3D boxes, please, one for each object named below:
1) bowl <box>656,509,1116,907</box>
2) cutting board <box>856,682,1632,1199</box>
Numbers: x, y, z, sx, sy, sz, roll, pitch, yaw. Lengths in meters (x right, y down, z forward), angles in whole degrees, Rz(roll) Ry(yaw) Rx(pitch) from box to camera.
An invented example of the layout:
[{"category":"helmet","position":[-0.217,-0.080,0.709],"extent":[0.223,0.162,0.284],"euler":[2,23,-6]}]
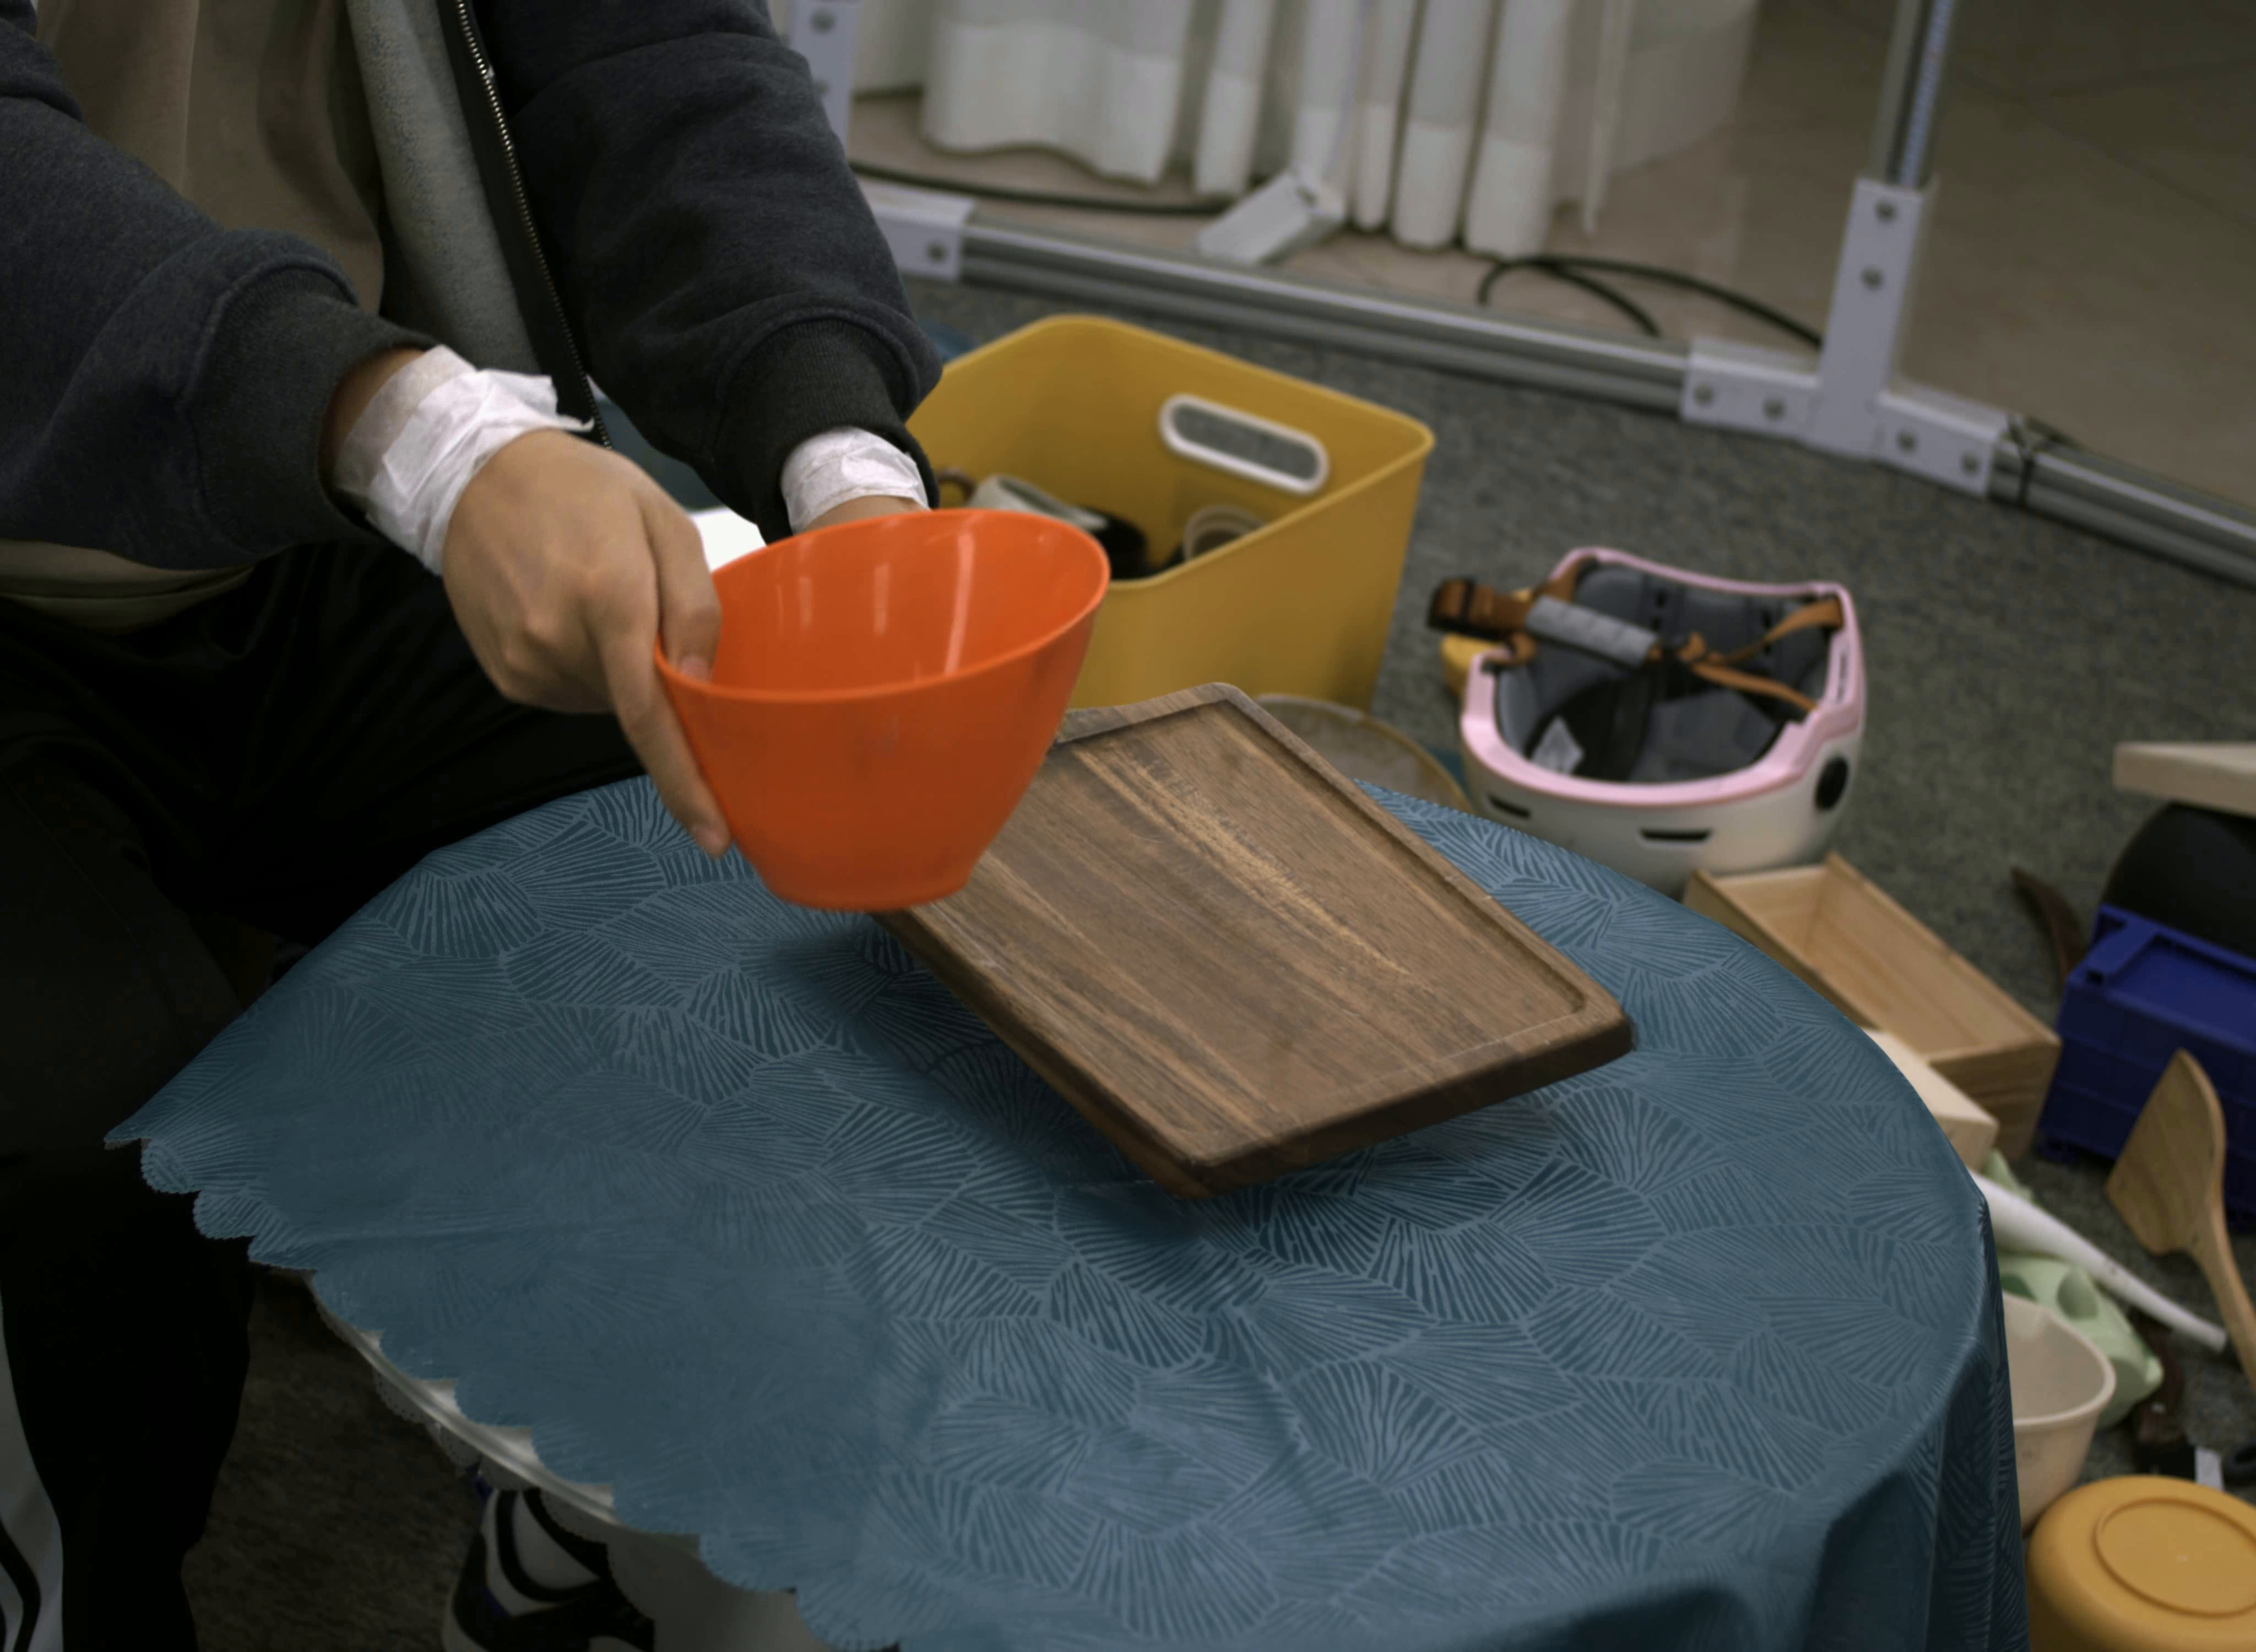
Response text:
[{"category":"bowl","position":[-0.076,-0.035,1.709],"extent":[0.147,0.104,0.148],"euler":[-1,17,0]},{"category":"cutting board","position":[0.000,0.010,1.922],"extent":[0.200,0.023,0.355],"euler":[-16,38,-32]}]
